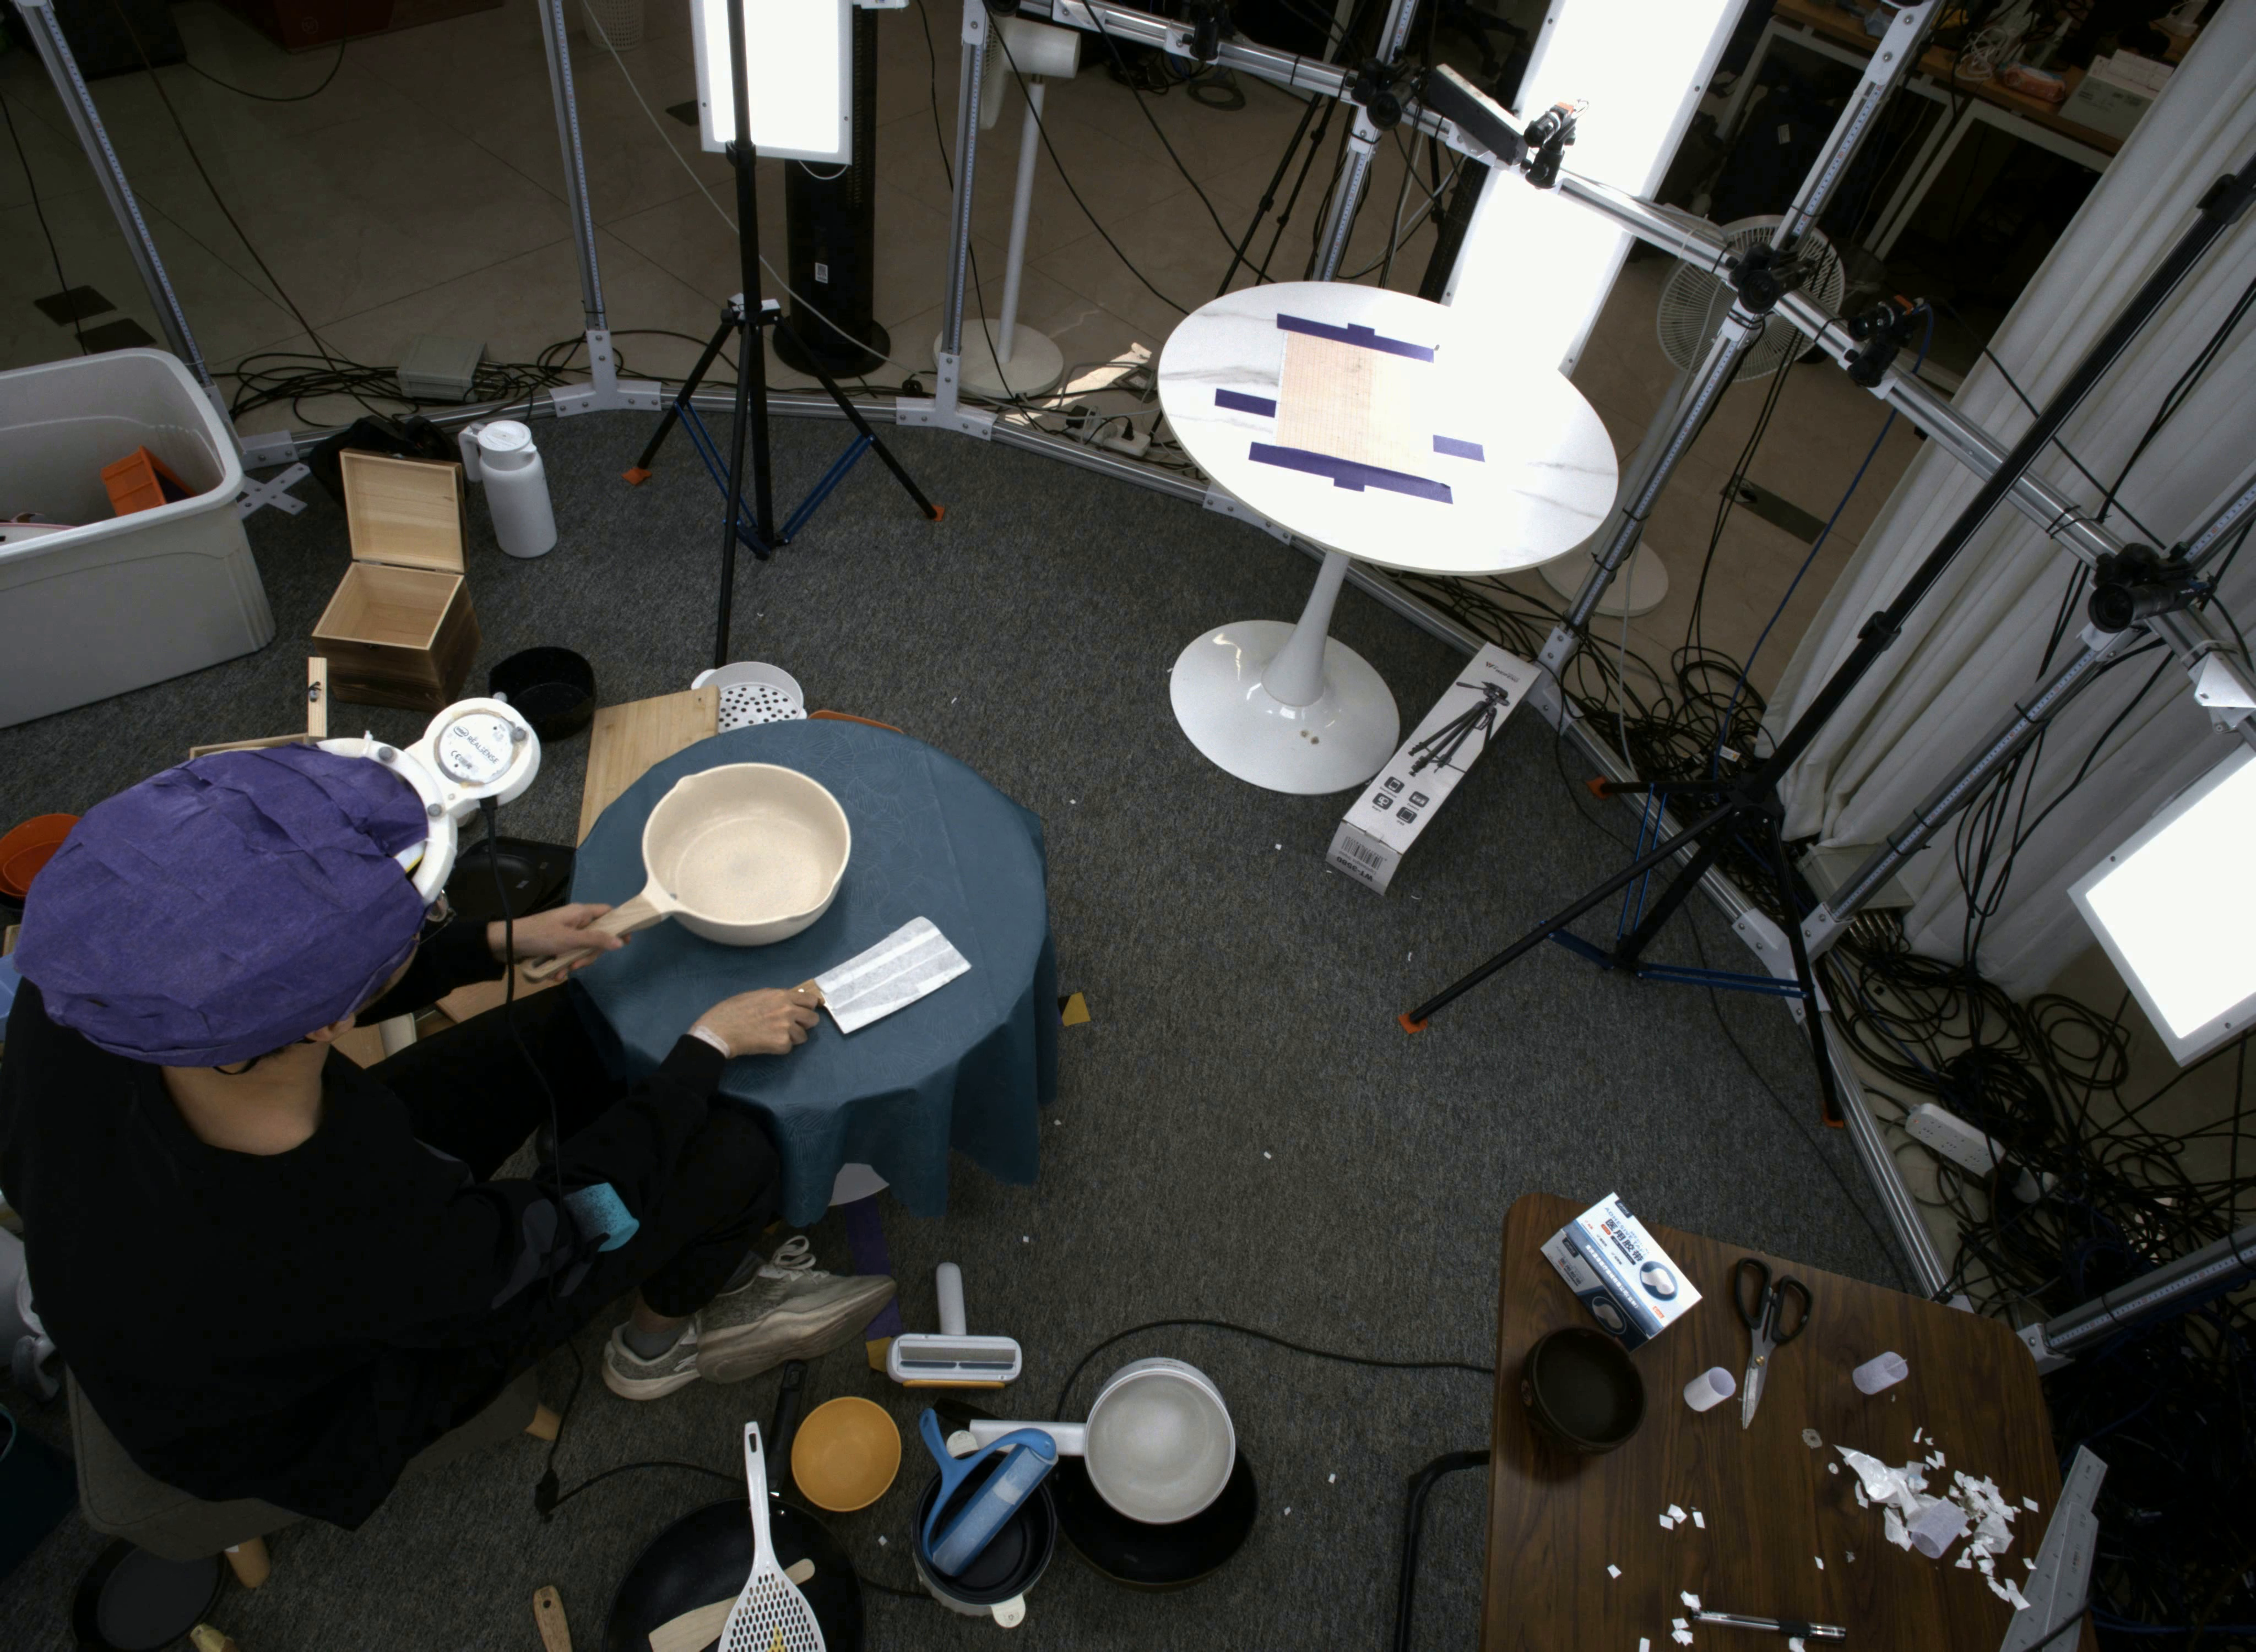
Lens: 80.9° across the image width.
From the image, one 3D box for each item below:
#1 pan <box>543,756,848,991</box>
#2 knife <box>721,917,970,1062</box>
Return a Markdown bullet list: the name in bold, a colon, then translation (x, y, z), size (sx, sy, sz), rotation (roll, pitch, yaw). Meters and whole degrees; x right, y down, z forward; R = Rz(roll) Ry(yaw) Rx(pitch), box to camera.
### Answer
- **pan**: translation (-0.535, 0.080, 1.560), size (0.259, 0.104, 0.435), rotation (40, 54, 13)
- **knife**: translation (-0.344, 0.199, 1.575), size (0.317, 0.022, 0.111), rotation (-24, 64, -32)
